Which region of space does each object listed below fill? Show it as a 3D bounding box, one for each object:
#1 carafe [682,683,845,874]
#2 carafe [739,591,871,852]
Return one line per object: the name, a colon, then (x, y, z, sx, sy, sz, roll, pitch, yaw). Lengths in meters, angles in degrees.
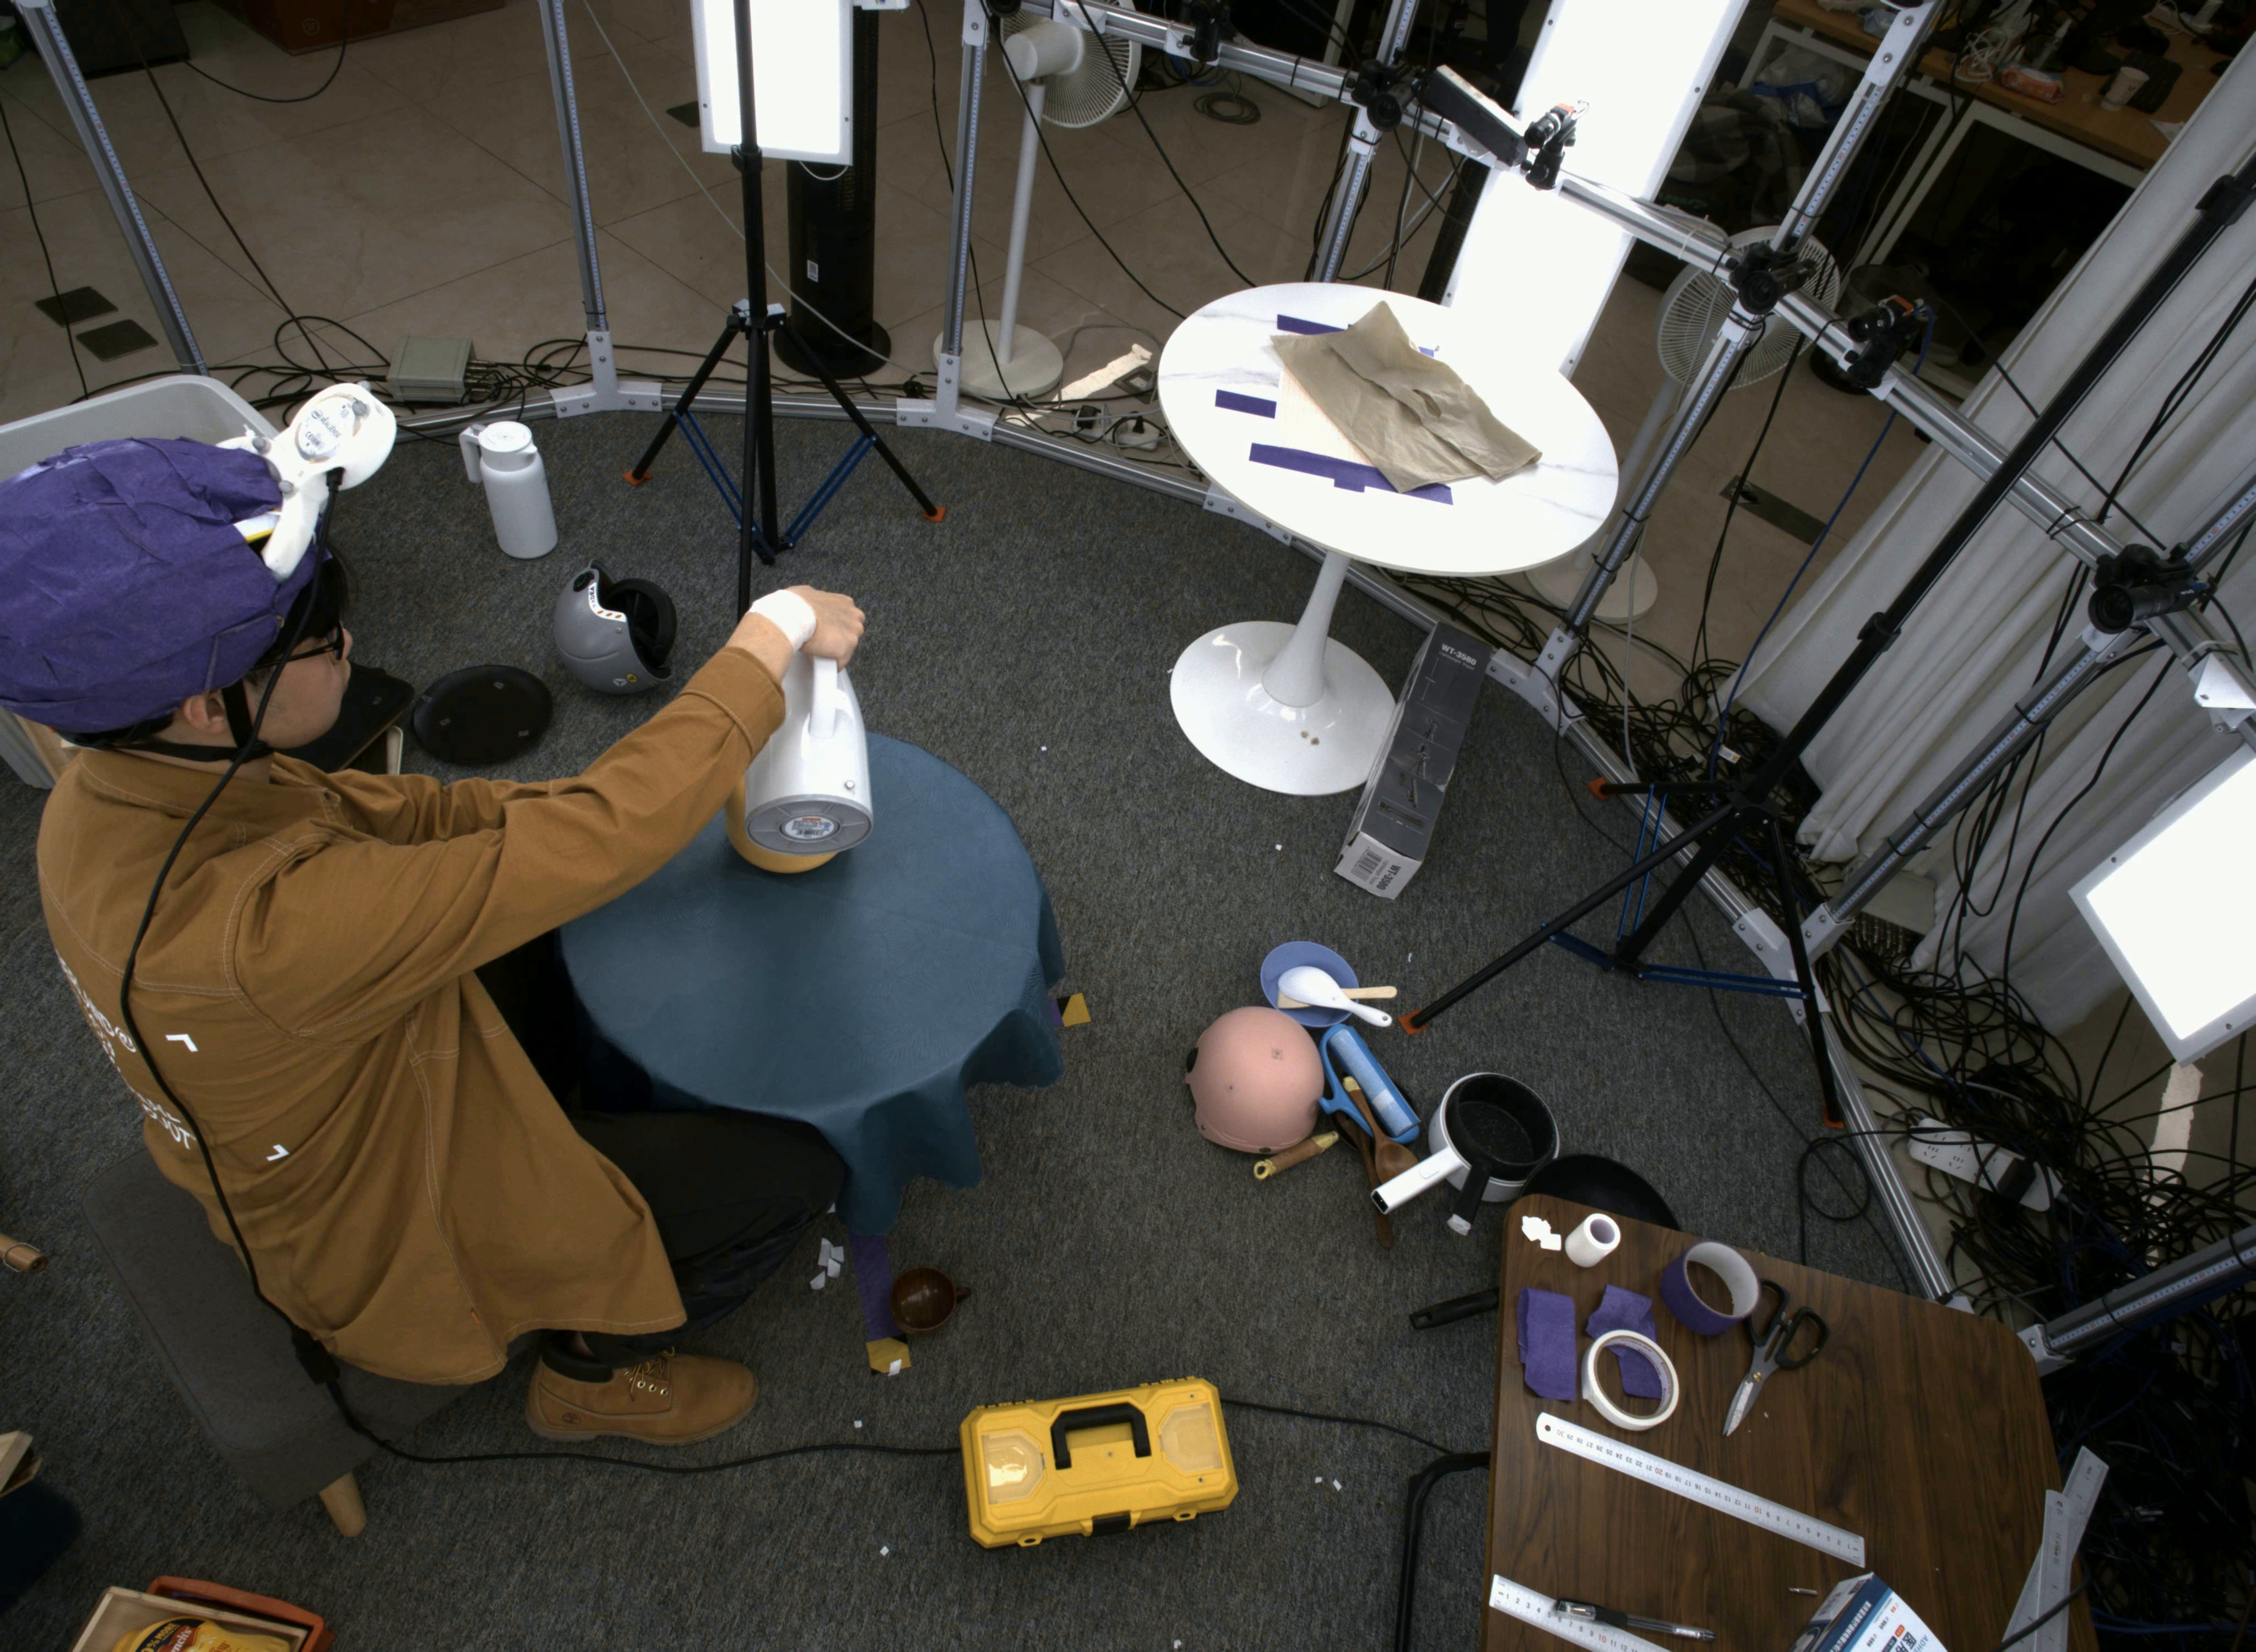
carafe: (-0.446, -0.073, 1.603, 0.203, 0.266, 0.159, -2, 51, -16)
carafe: (-0.341, -0.123, 1.368, 0.134, 0.168, 0.245, 4, 63, -27)
